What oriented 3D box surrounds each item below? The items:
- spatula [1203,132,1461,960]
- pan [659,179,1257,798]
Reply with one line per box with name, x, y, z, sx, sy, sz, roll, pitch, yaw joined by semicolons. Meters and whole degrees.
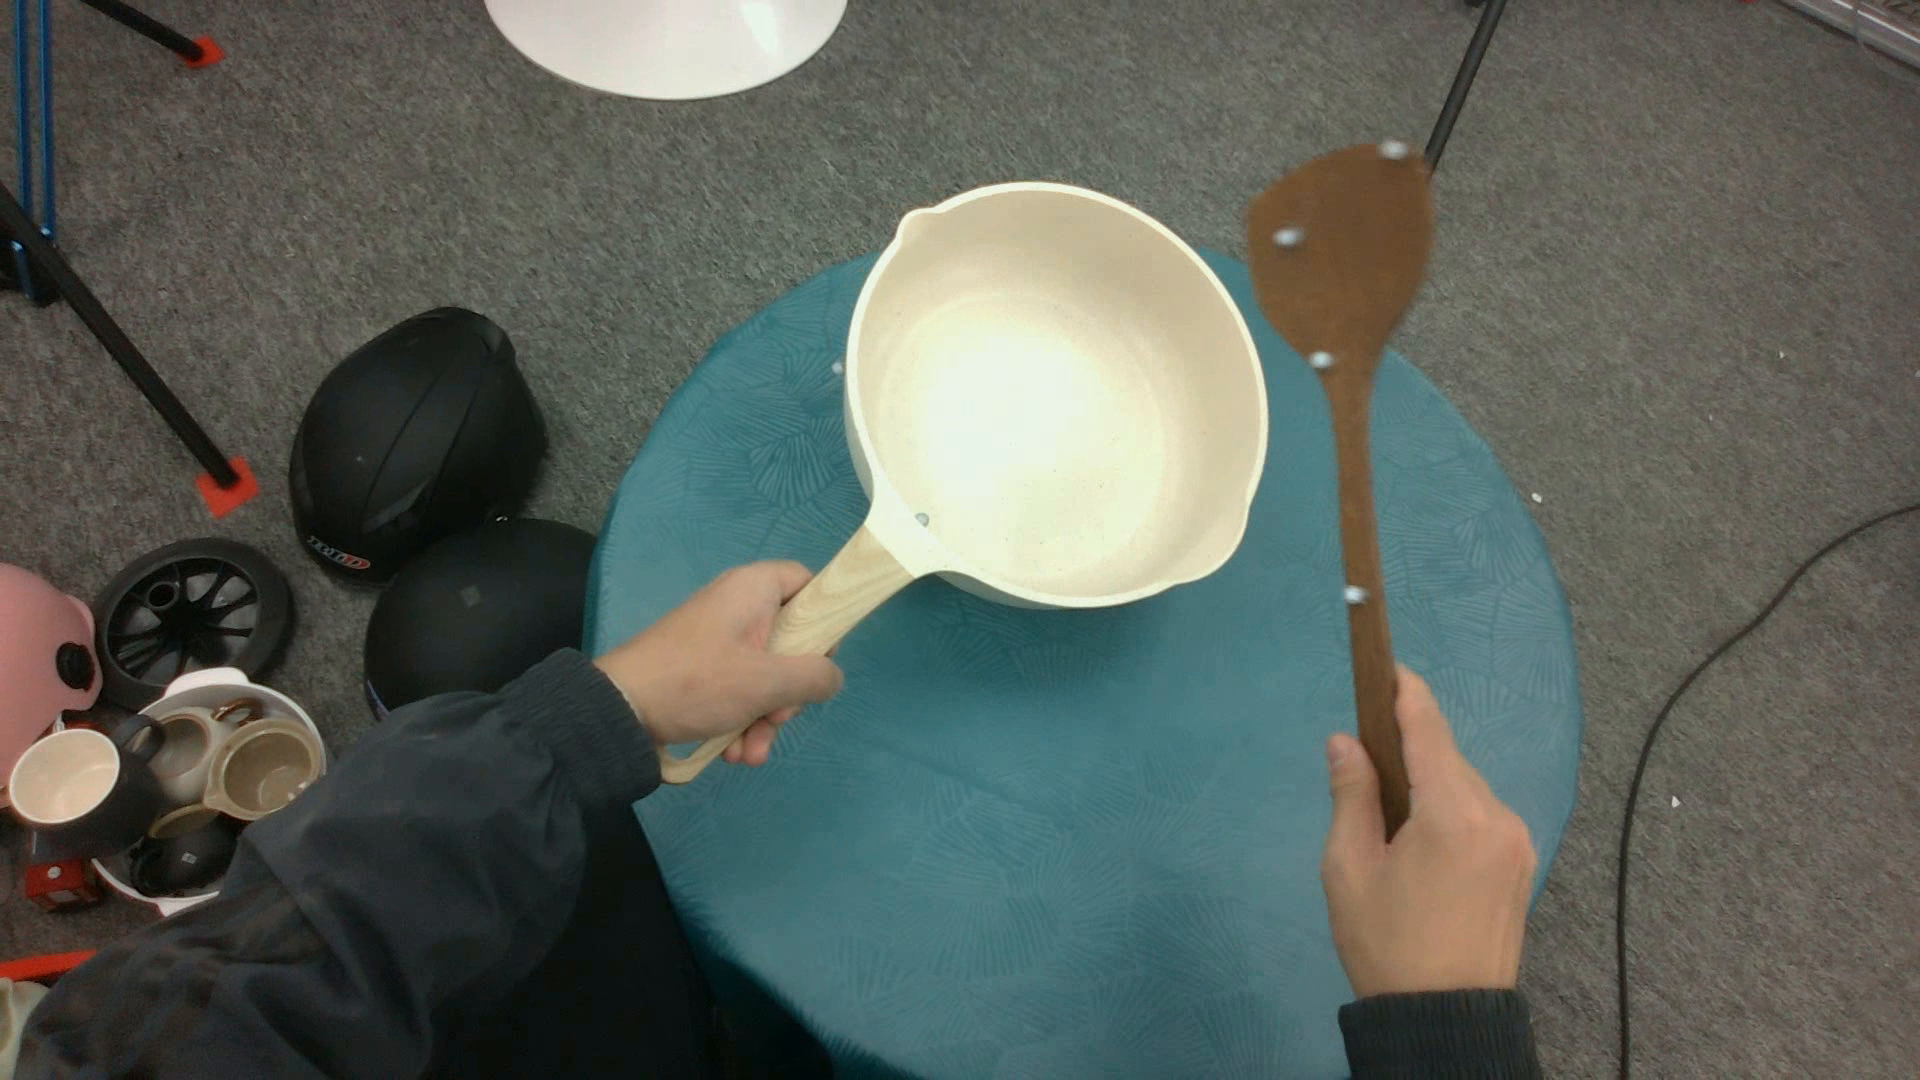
spatula;0.182;-0.002;0.641;0.016;0.095;0.386;1;76;-41
pan;-0.013;-0.021;0.775;0.263;0.101;0.436;45;68;-2
